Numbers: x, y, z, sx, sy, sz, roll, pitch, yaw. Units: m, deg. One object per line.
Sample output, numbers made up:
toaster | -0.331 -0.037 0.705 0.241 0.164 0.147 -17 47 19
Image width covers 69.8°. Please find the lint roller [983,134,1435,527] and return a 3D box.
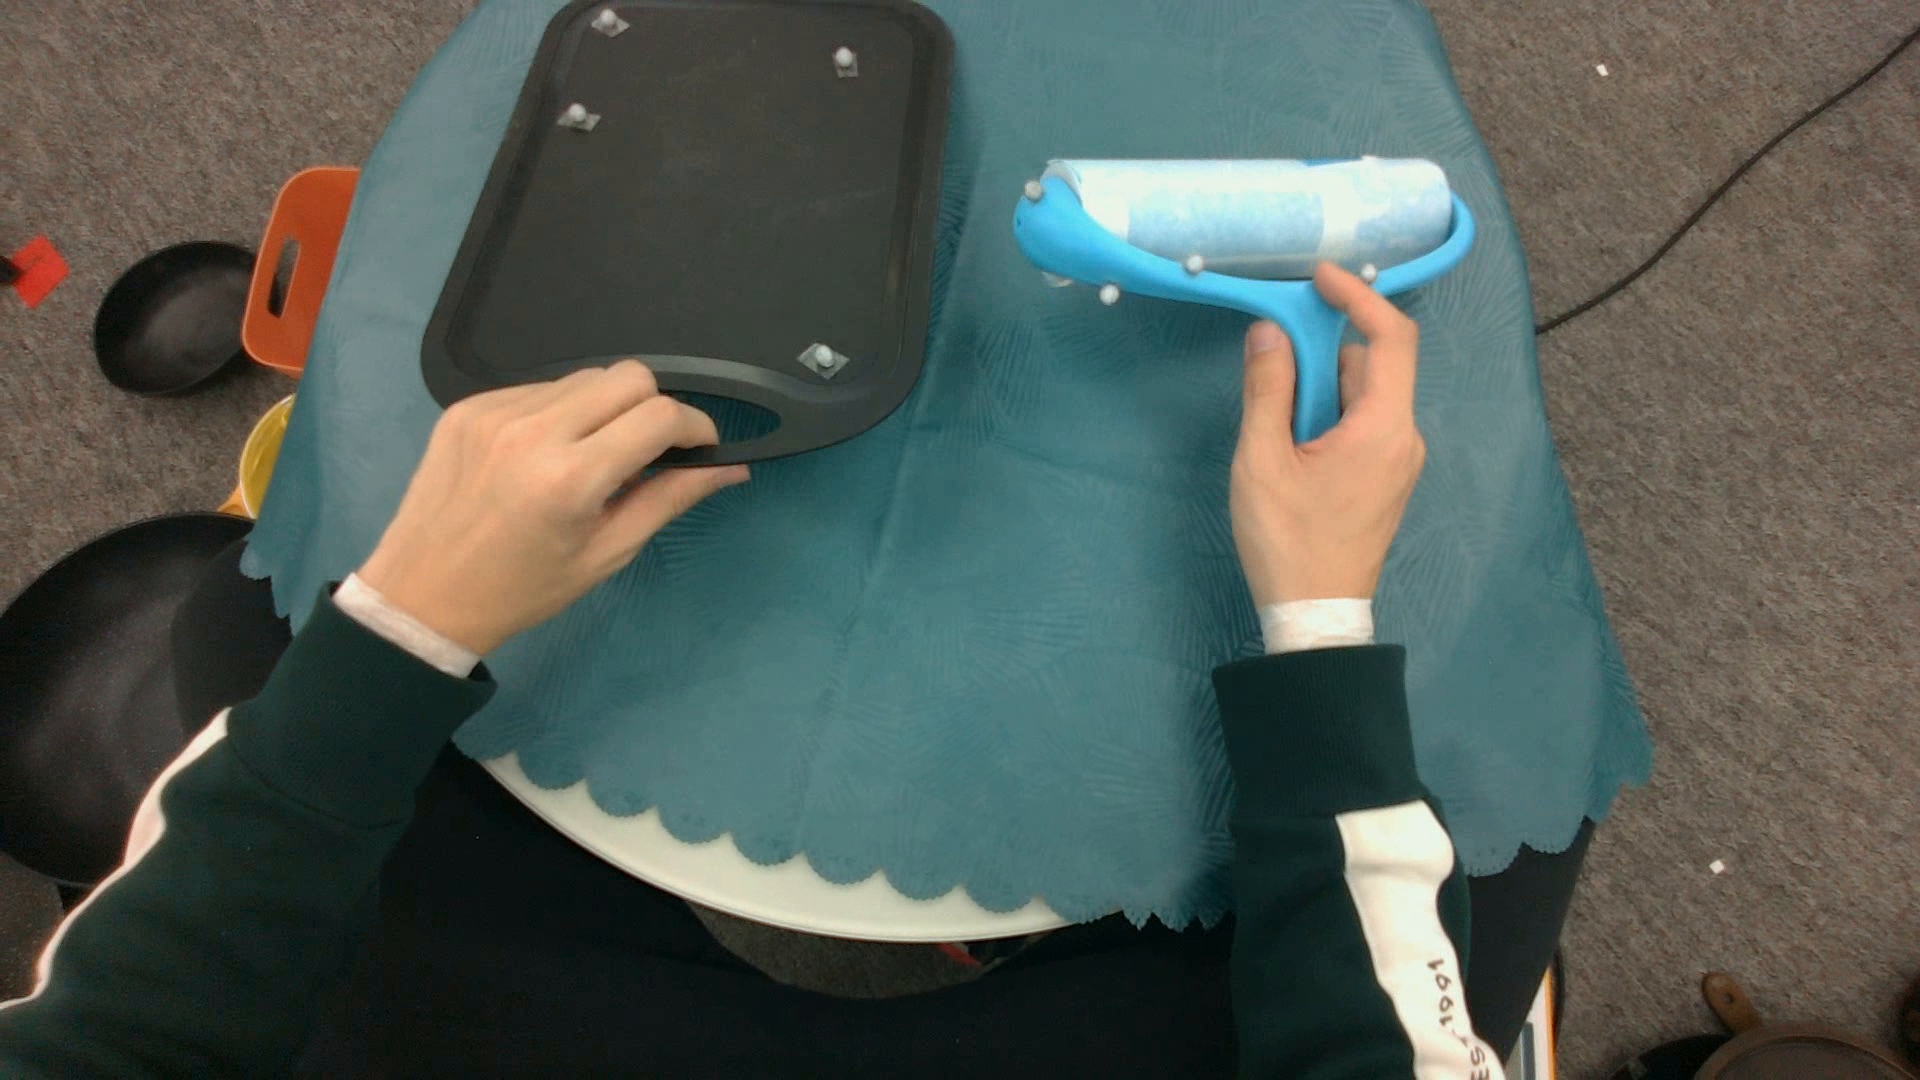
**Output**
lint roller | 0.132 -0.100 0.618 0.229 0.067 0.180 -11 77 -27

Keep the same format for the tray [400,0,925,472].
tray | -0.125 -0.159 0.632 0.211 0.010 0.327 1 54 1
